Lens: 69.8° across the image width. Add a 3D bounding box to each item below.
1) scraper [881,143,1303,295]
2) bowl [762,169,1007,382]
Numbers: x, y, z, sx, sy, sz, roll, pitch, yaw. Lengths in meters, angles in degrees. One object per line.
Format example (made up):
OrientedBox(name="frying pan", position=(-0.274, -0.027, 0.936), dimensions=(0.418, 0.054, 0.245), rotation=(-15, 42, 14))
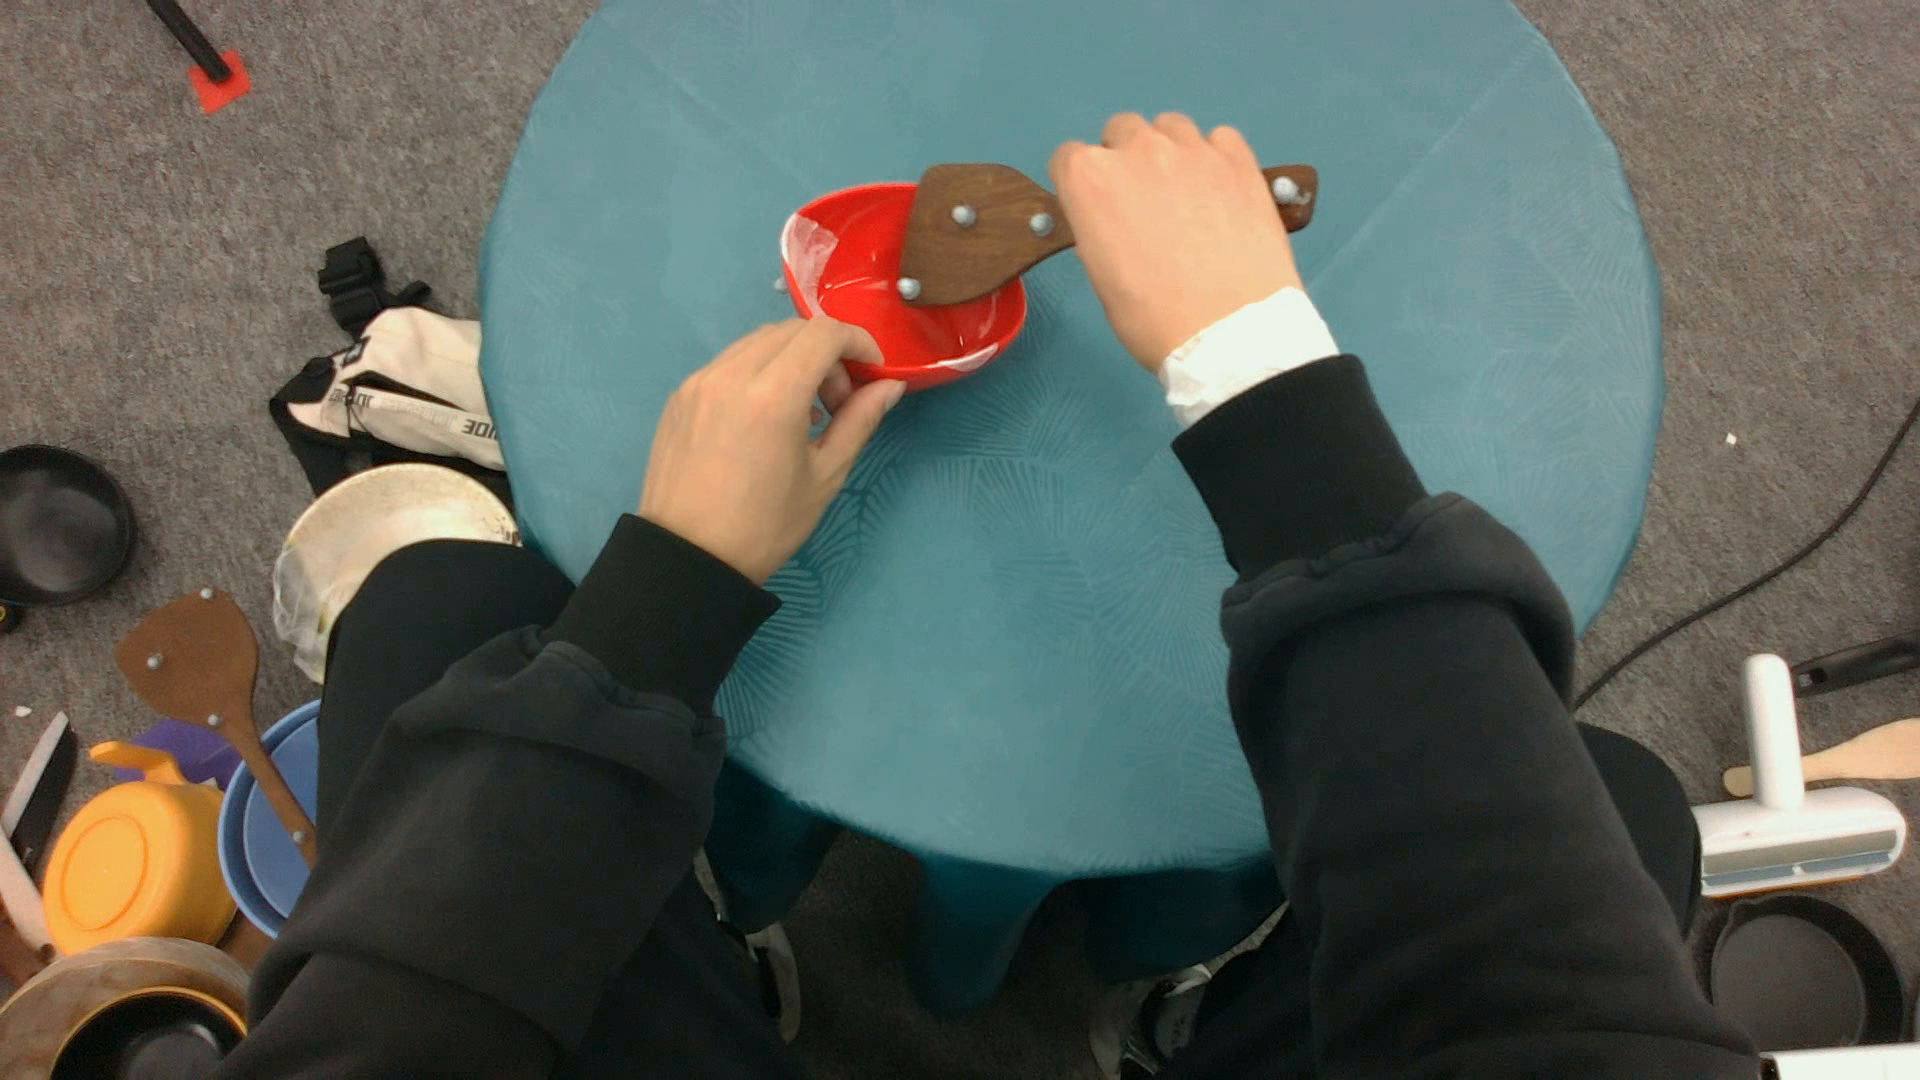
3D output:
OrientedBox(name="scraper", position=(0.050, -0.145, 0.599), dimensions=(0.211, 0.011, 0.076), rotation=(5, 78, 39))
OrientedBox(name="bowl", position=(-0.040, -0.118, 0.659), dimensions=(0.119, 0.051, 0.119), rotation=(8, 58, -13))
